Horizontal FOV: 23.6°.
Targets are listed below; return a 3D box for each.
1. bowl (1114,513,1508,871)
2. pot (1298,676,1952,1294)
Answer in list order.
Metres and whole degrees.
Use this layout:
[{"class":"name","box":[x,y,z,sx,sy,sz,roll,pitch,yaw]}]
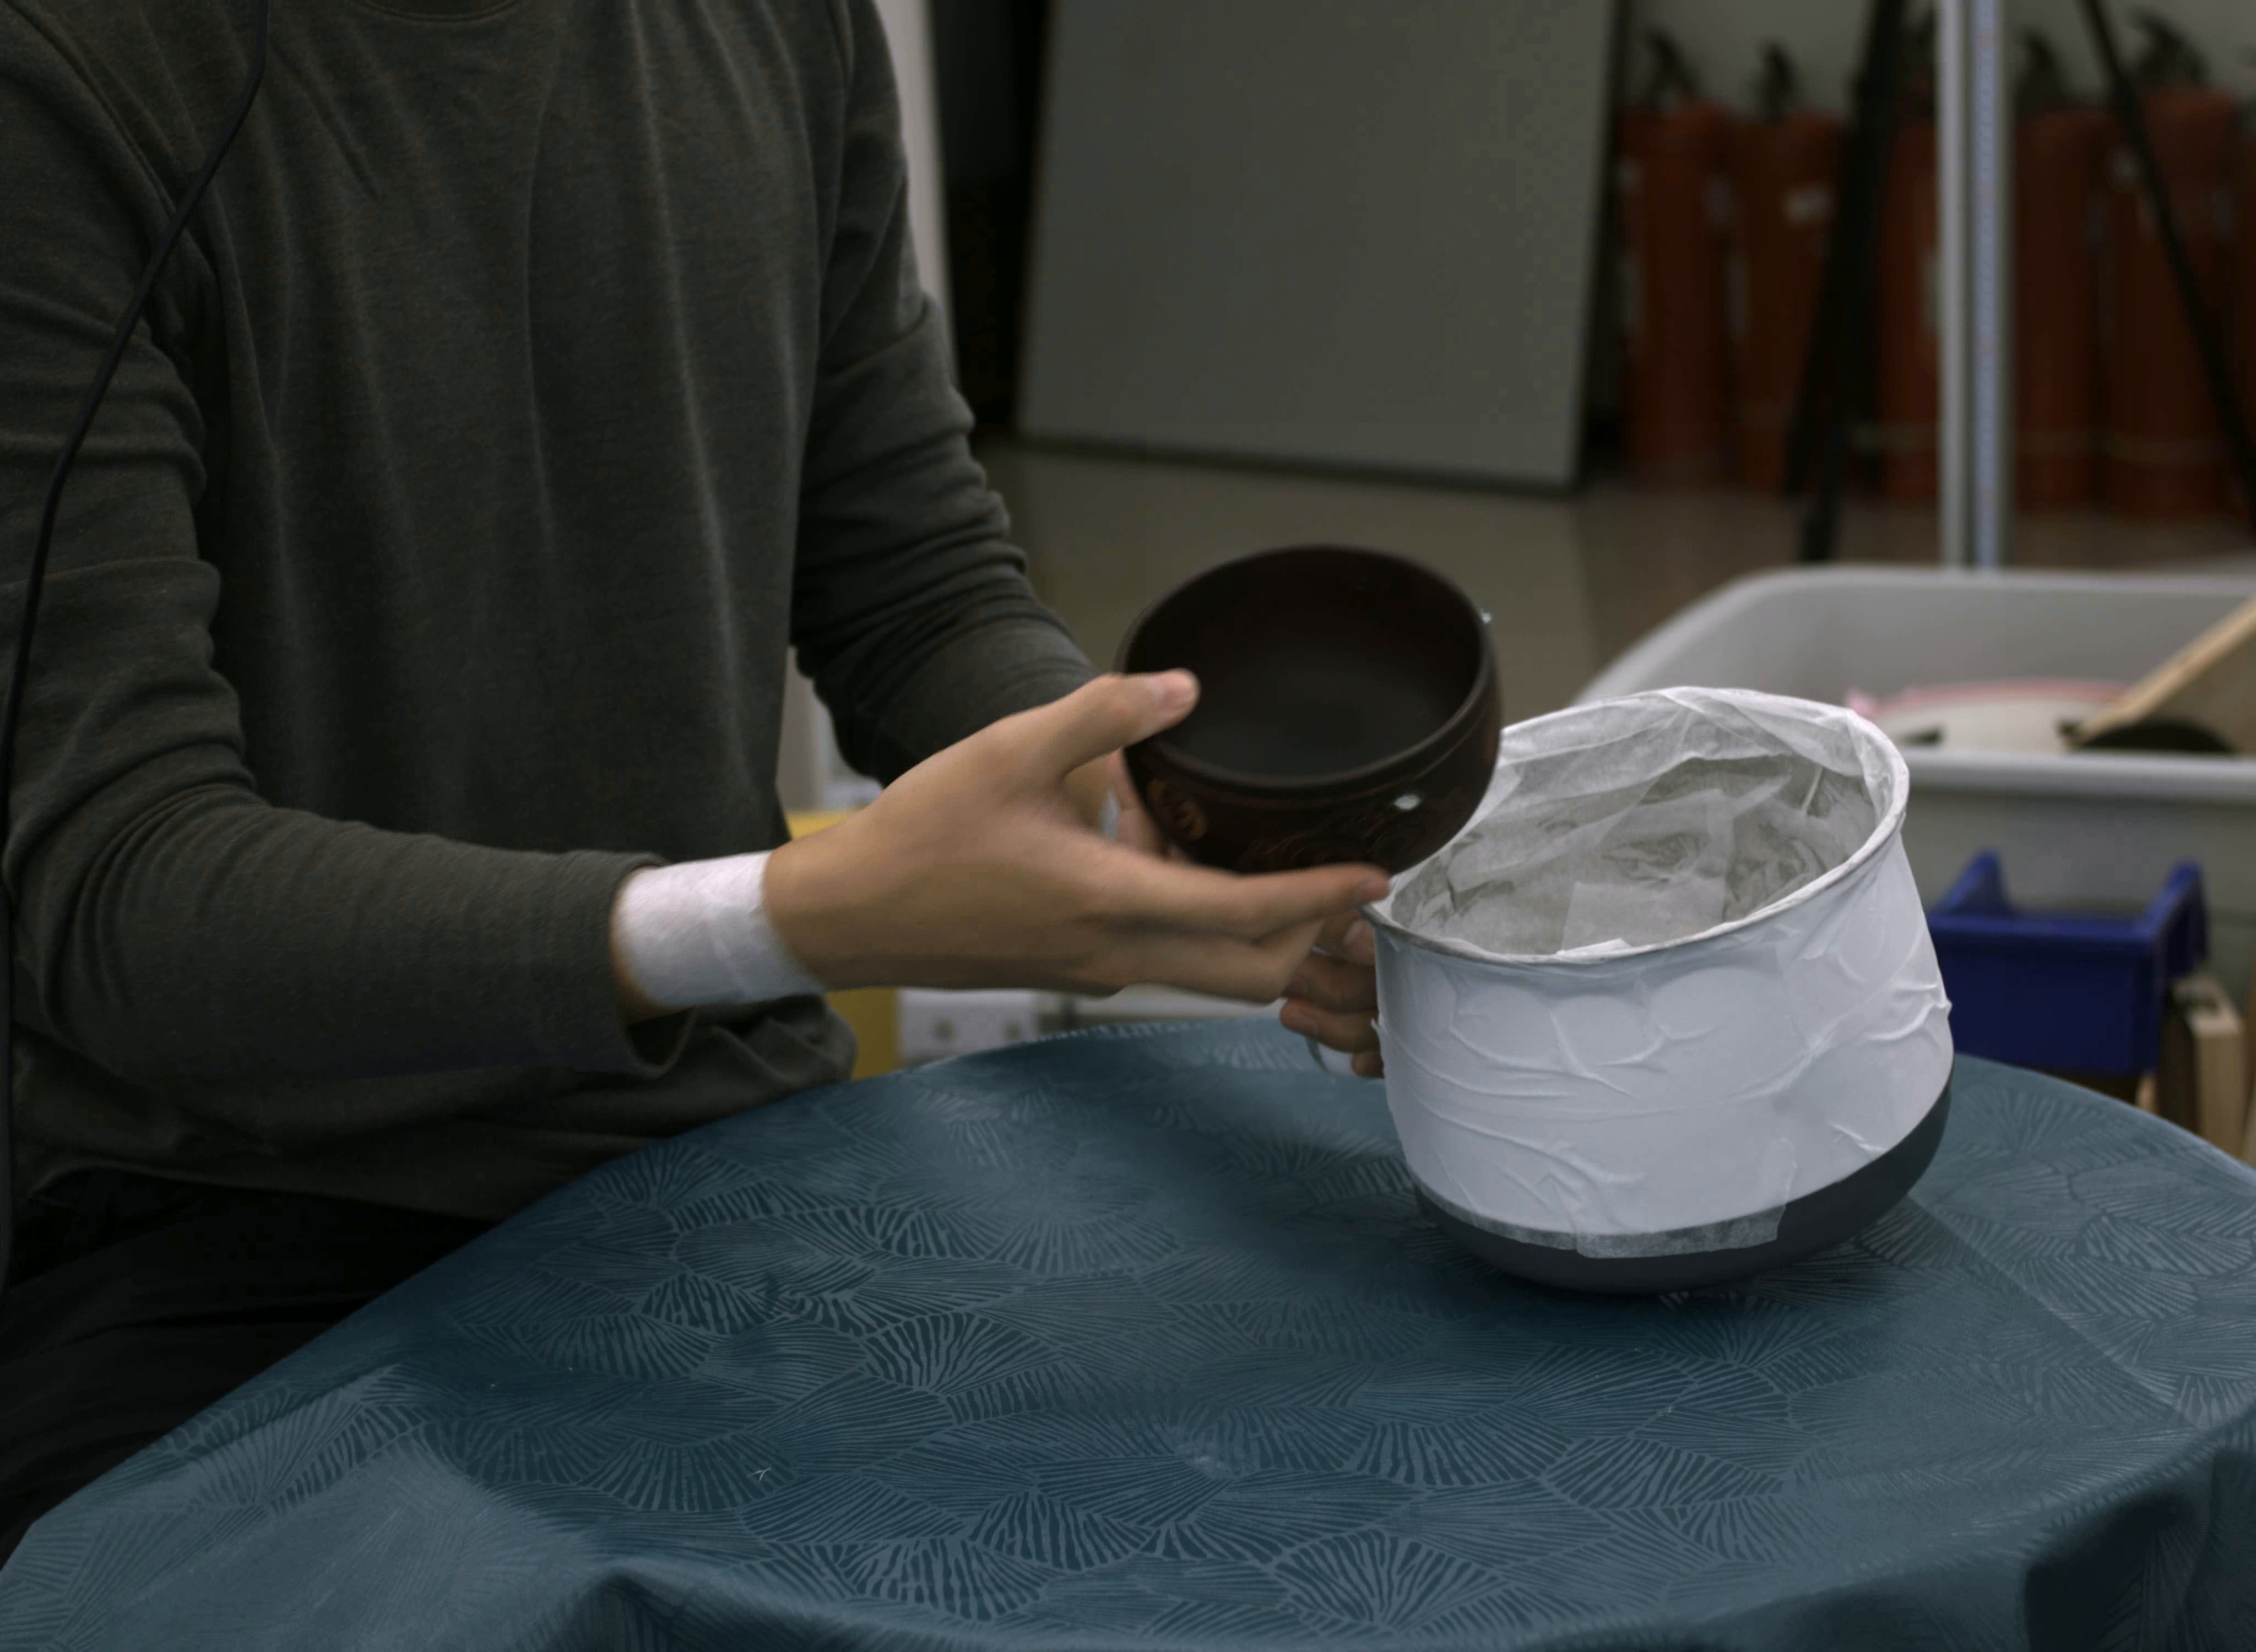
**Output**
[{"class":"bowl","box":[0.057,-0.031,1.611,0.117,0.070,0.119,-8,39,6]},{"class":"pot","box":[0.143,0.047,1.686,0.236,0.137,0.176,10,33,41]}]
